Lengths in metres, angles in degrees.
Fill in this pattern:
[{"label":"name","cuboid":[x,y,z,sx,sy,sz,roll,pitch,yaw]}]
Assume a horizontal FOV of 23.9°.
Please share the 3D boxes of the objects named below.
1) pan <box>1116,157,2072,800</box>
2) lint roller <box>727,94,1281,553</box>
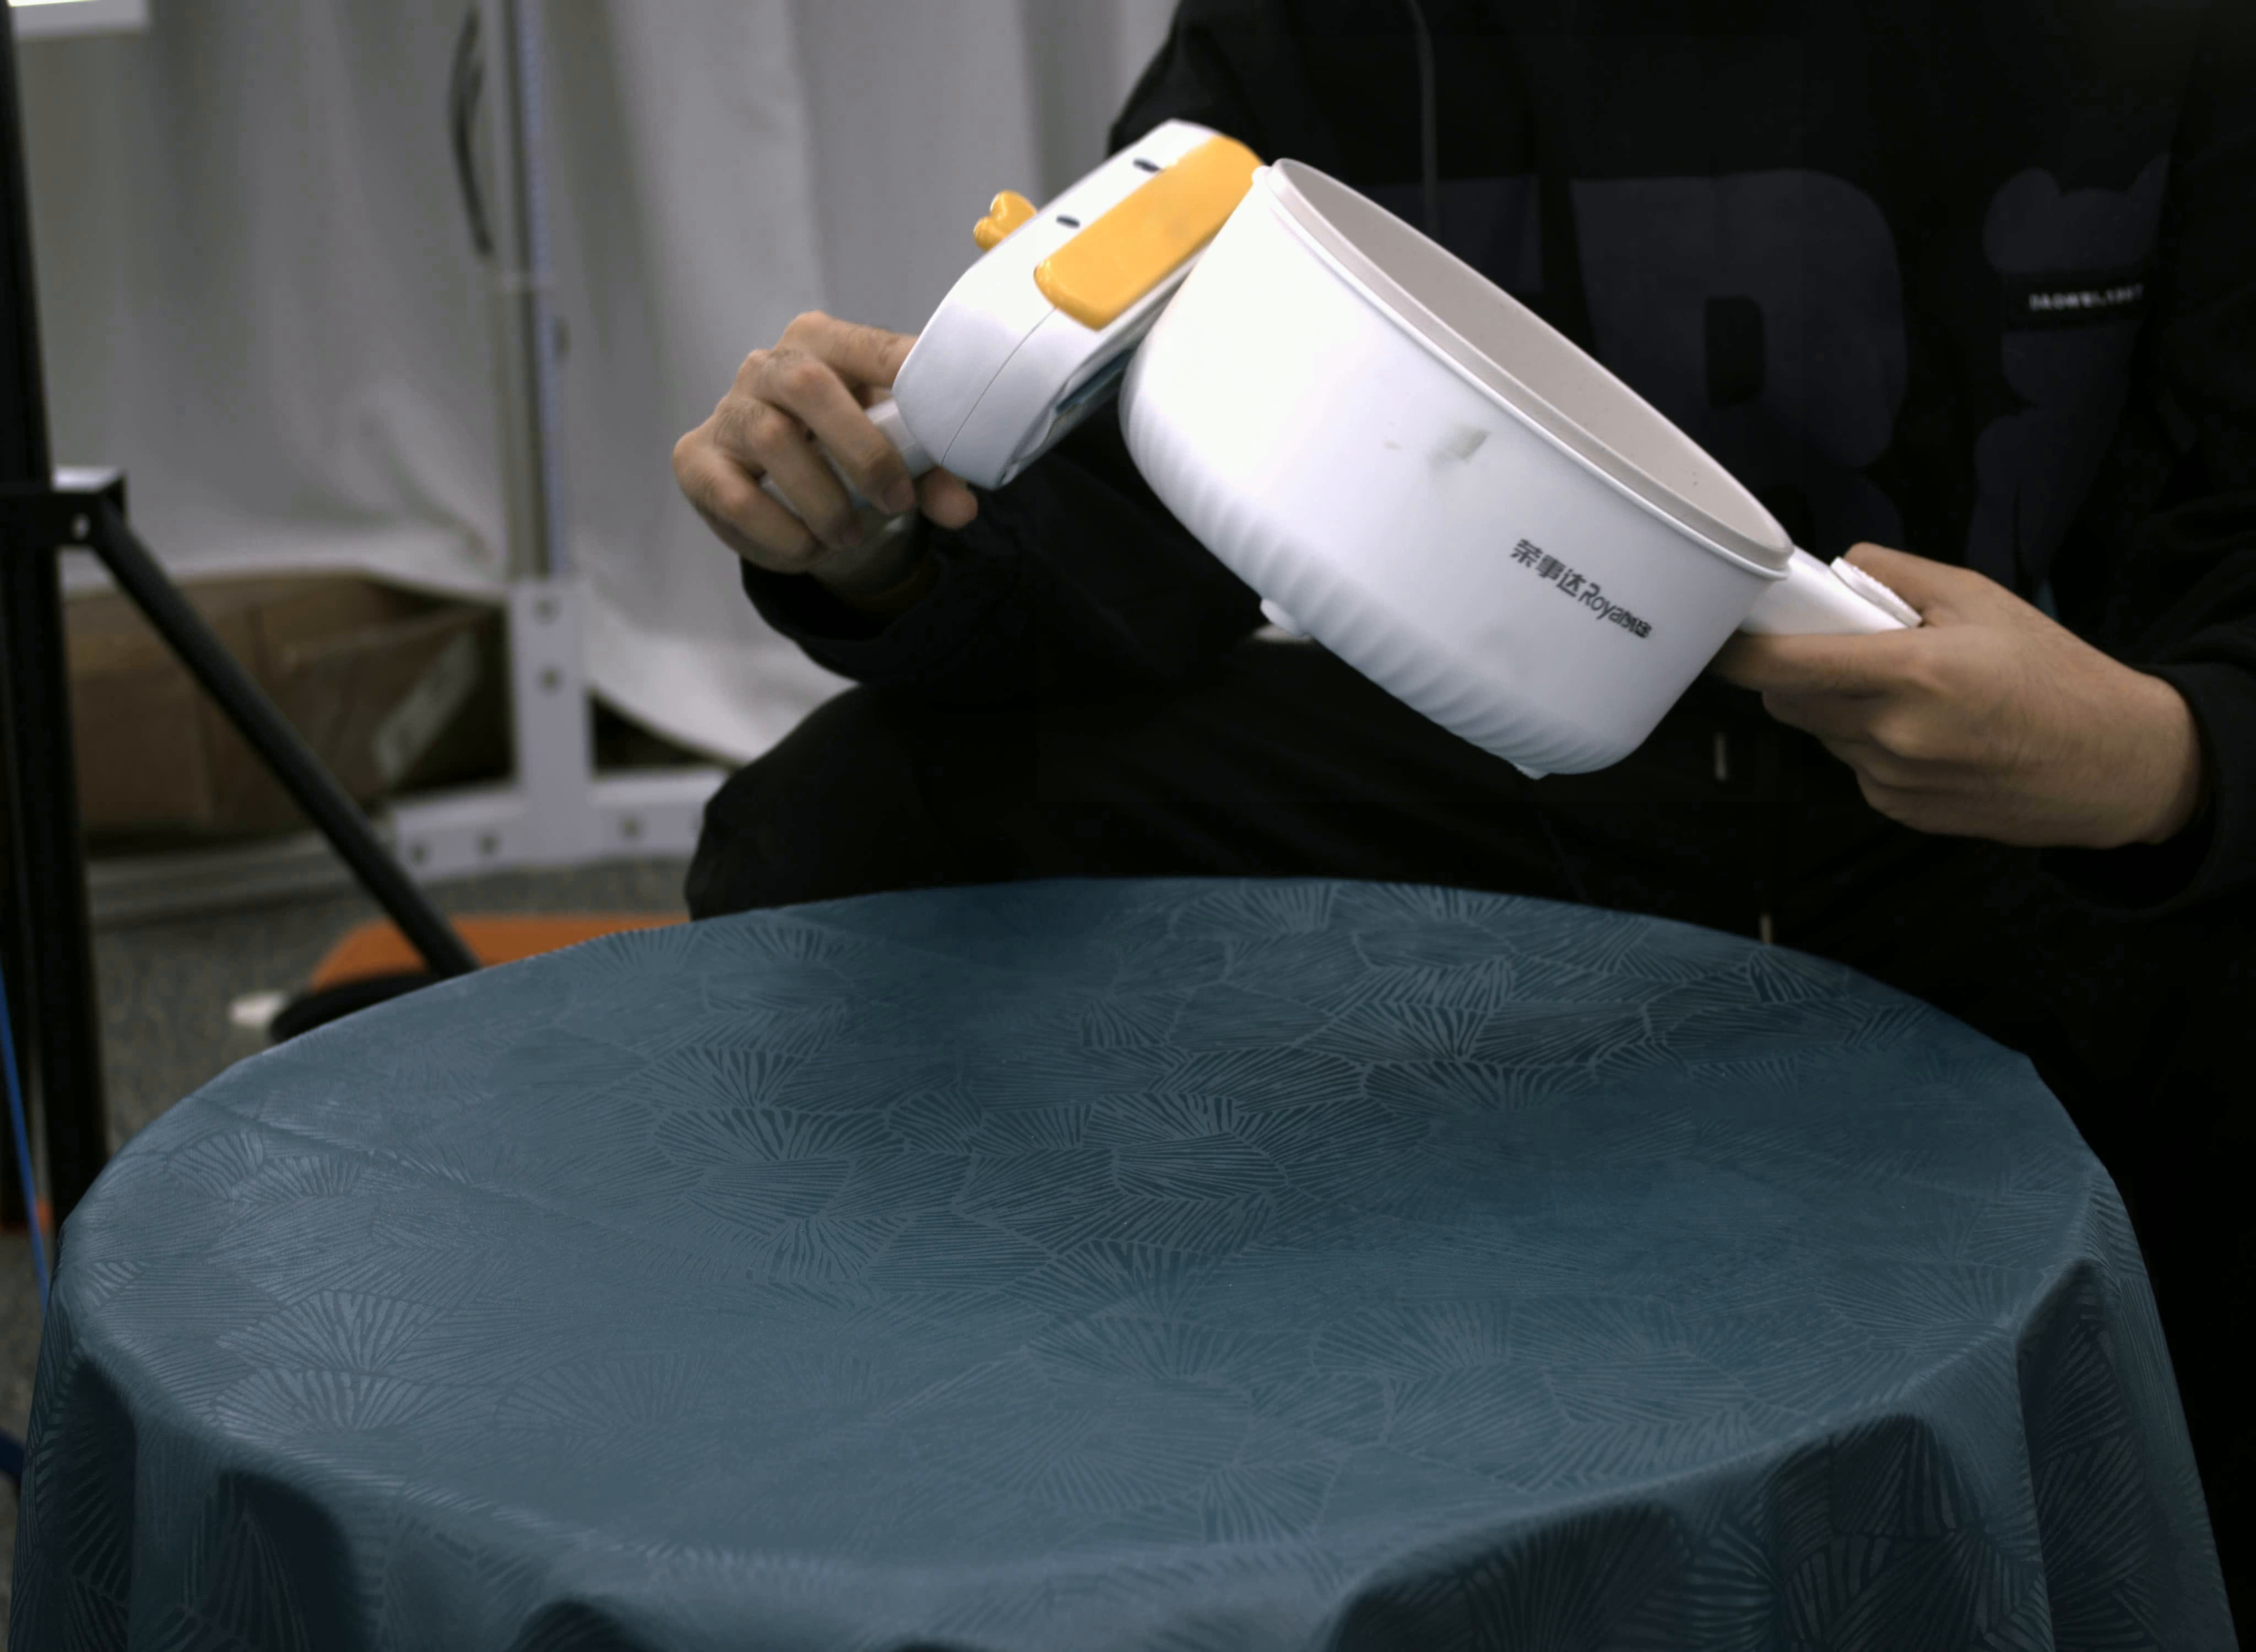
[{"label":"pan","cuboid":[0.147,-0.071,1.642,0.346,0.102,0.205,29,14,-33]},{"label":"lint roller","cuboid":[-0.049,-0.140,1.681,0.194,0.074,0.191,-44,6,31]}]
